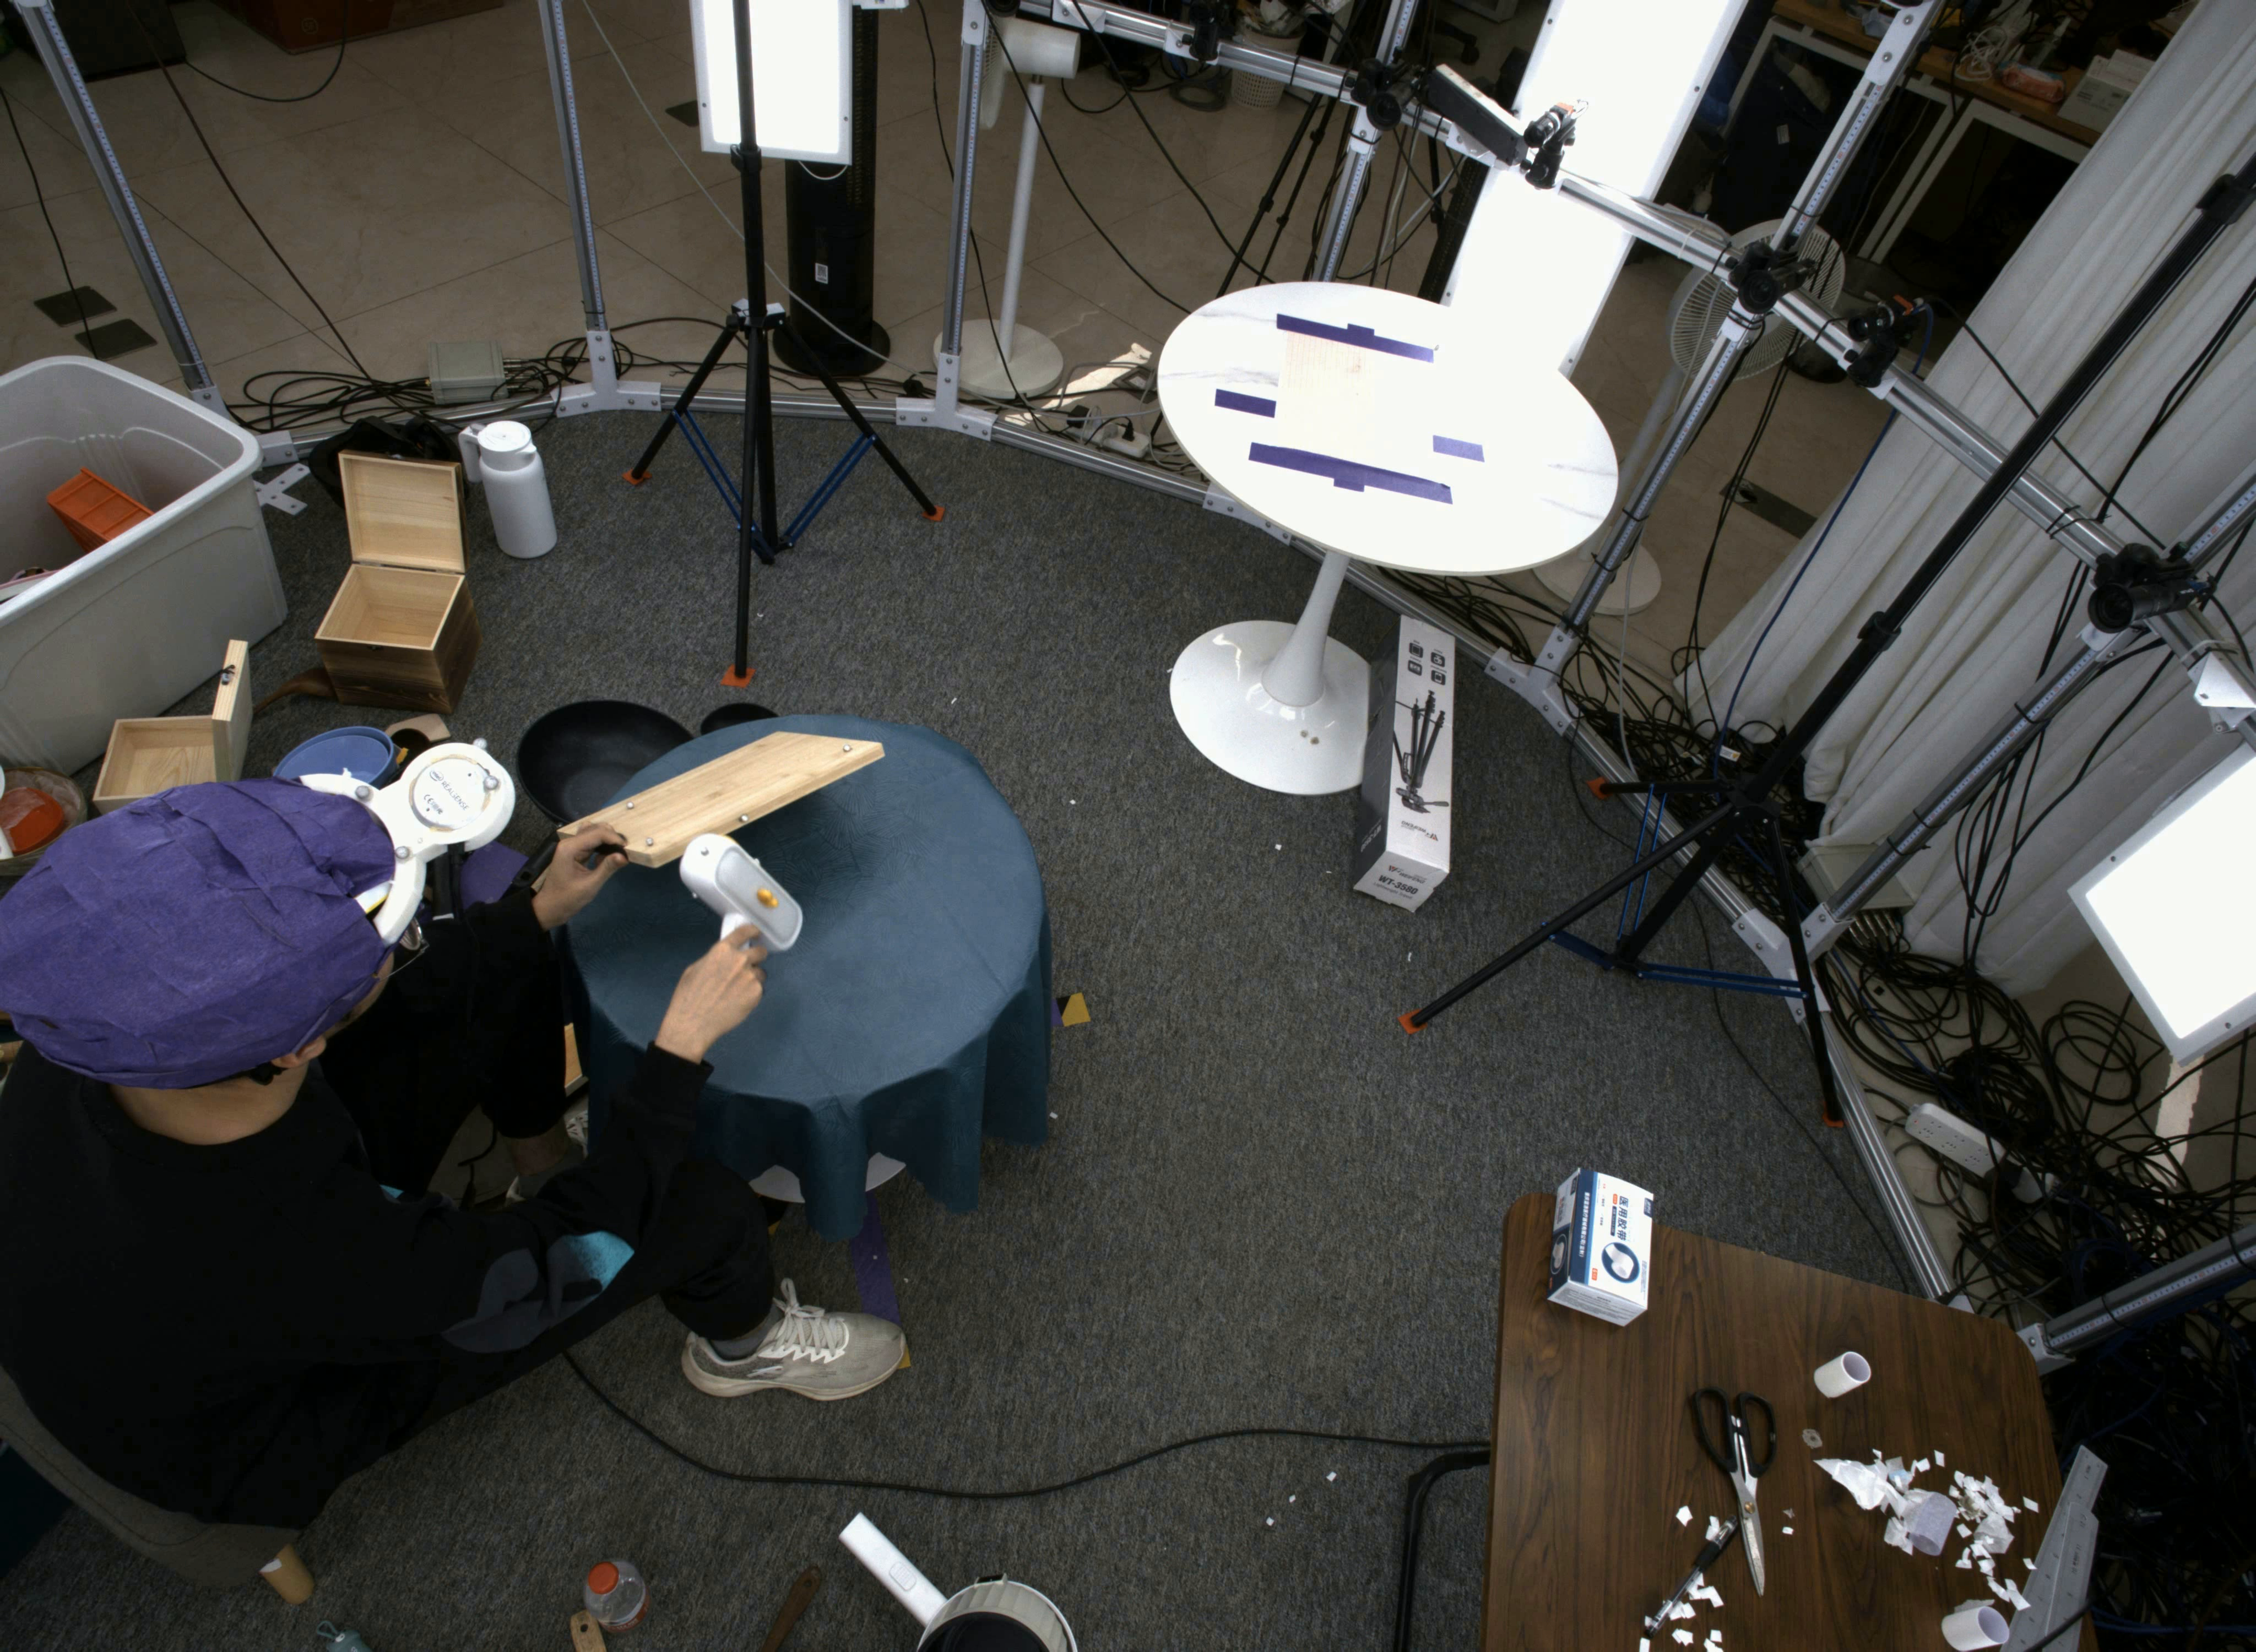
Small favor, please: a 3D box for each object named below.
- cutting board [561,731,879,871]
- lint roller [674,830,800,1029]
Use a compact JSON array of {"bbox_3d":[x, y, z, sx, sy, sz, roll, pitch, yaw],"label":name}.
[{"bbox_3d":[-0.512,-0.041,1.609,0.242,0.024,0.350,8,29,41],"label":"cutting board"},{"bbox_3d":[-0.434,0.126,1.418,0.072,0.199,0.191,1,63,15],"label":"lint roller"}]
